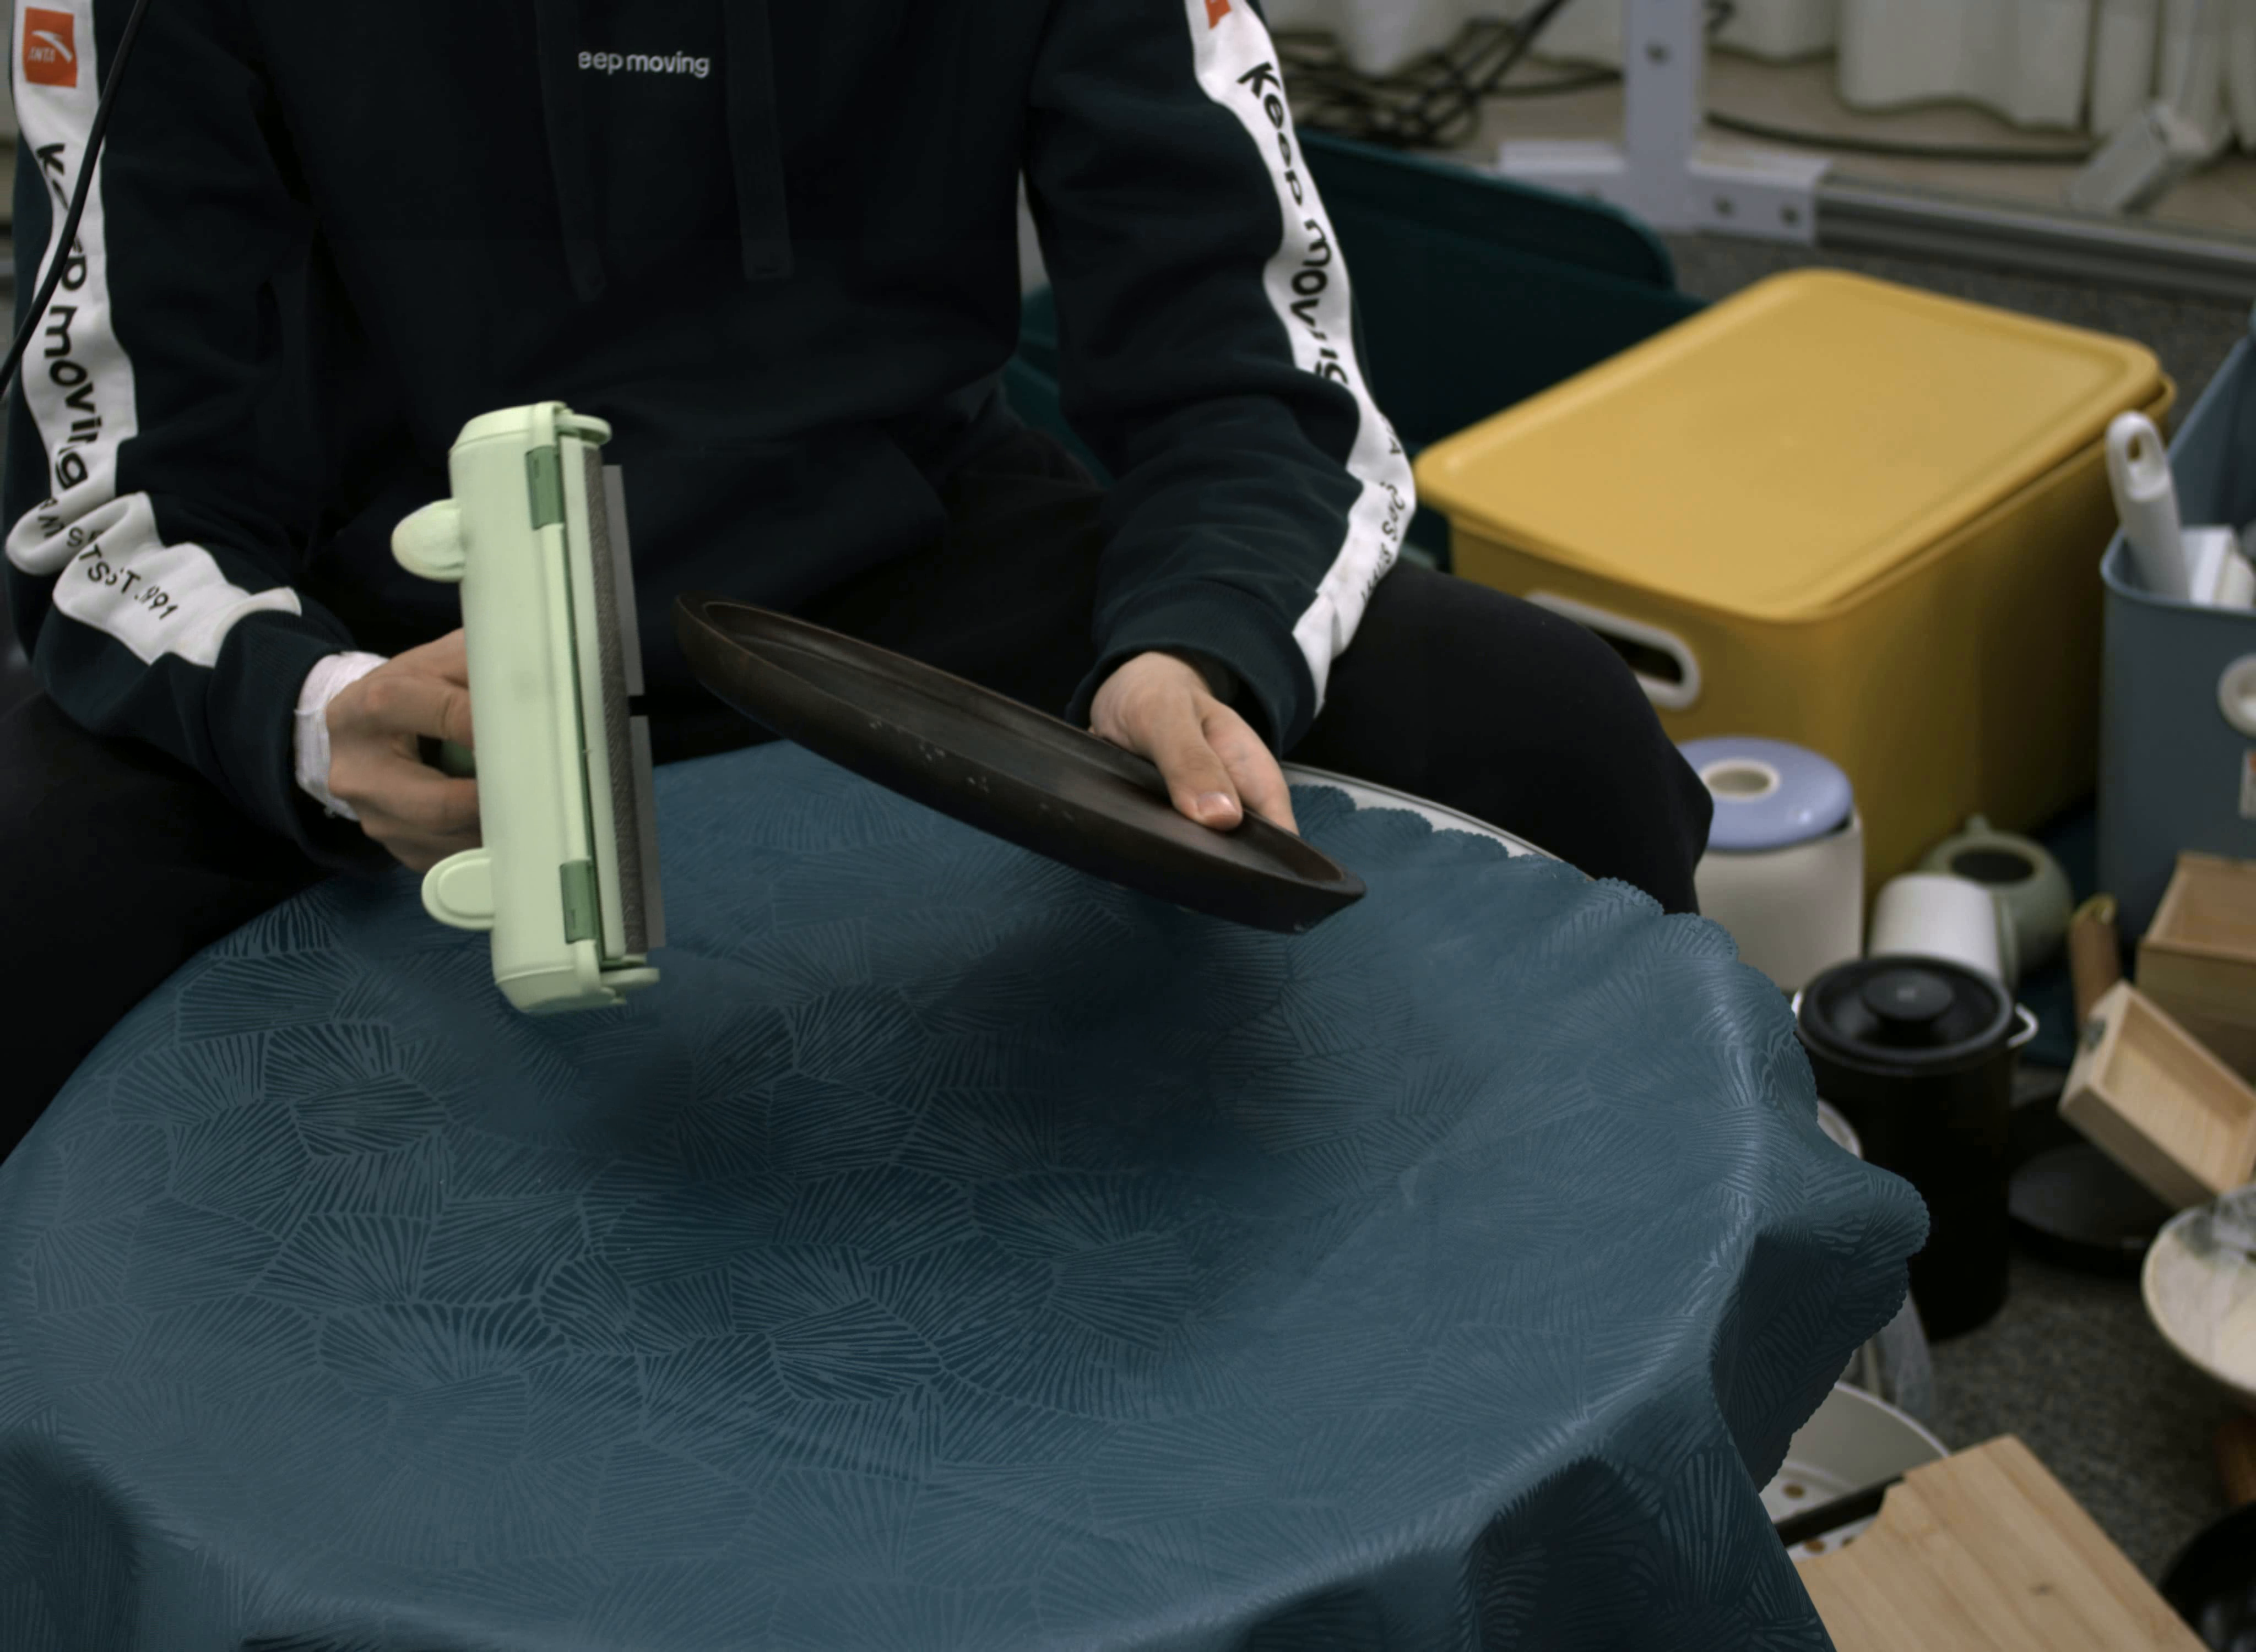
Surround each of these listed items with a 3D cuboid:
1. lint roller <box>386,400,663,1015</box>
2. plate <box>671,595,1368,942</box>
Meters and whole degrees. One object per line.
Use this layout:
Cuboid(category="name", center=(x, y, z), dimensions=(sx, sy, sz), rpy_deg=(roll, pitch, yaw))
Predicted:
Cuboid(category="lint roller", center=(-0.220, -0.029, 1.881), dimensions=(0.082, 0.200, 0.181), rpy_deg=(-2, -9, -29))
Cuboid(category="plate", center=(-0.038, -0.019, 1.884), dimensions=(0.254, 0.029, 0.256), rpy_deg=(23, 7, -2))
